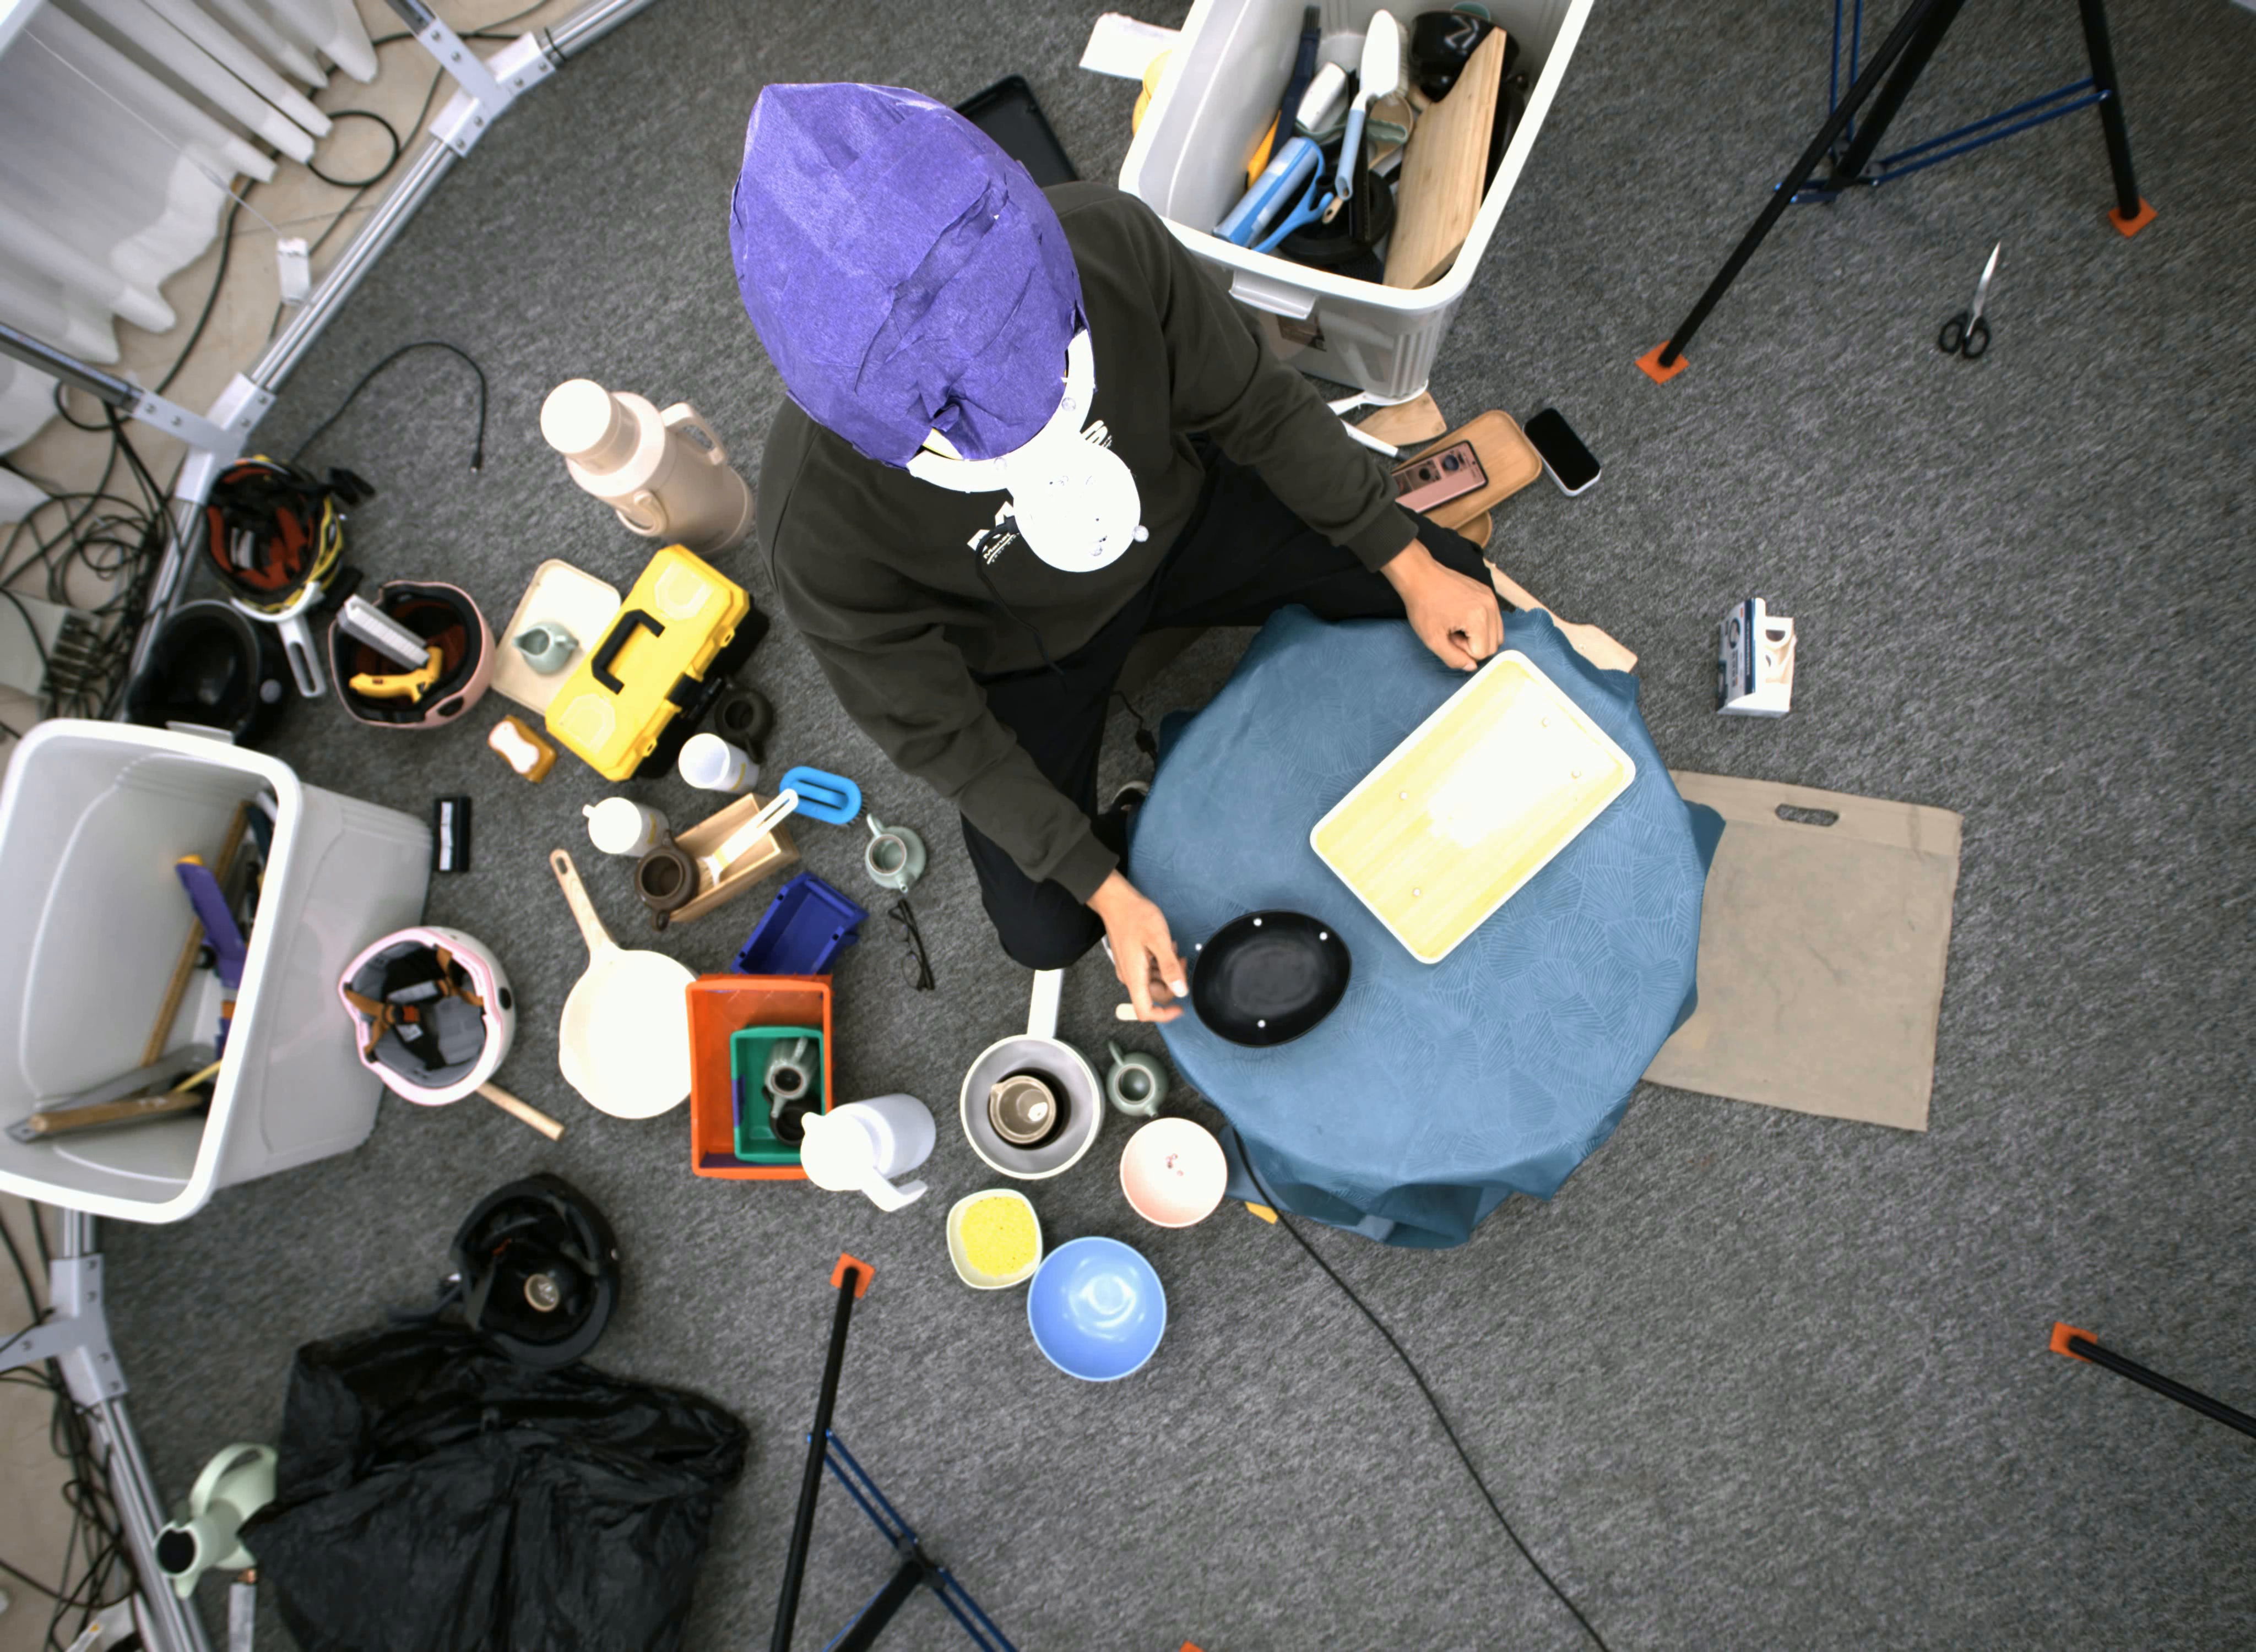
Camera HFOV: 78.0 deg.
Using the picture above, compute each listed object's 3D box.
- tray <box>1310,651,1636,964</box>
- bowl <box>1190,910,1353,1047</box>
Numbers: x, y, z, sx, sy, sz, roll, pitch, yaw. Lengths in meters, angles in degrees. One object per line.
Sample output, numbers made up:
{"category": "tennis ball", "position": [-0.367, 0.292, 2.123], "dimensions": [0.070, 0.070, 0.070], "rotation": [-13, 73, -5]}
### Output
{"category": "tray", "position": [0.357, -0.021, 1.435], "dimensions": [0.301, 0.027, 0.190], "rotation": [-44, 80, 6]}
{"category": "bowl", "position": [0.149, 0.156, 1.446], "dimensions": [0.171, 0.067, 0.136], "rotation": [-22, 84, 7]}
